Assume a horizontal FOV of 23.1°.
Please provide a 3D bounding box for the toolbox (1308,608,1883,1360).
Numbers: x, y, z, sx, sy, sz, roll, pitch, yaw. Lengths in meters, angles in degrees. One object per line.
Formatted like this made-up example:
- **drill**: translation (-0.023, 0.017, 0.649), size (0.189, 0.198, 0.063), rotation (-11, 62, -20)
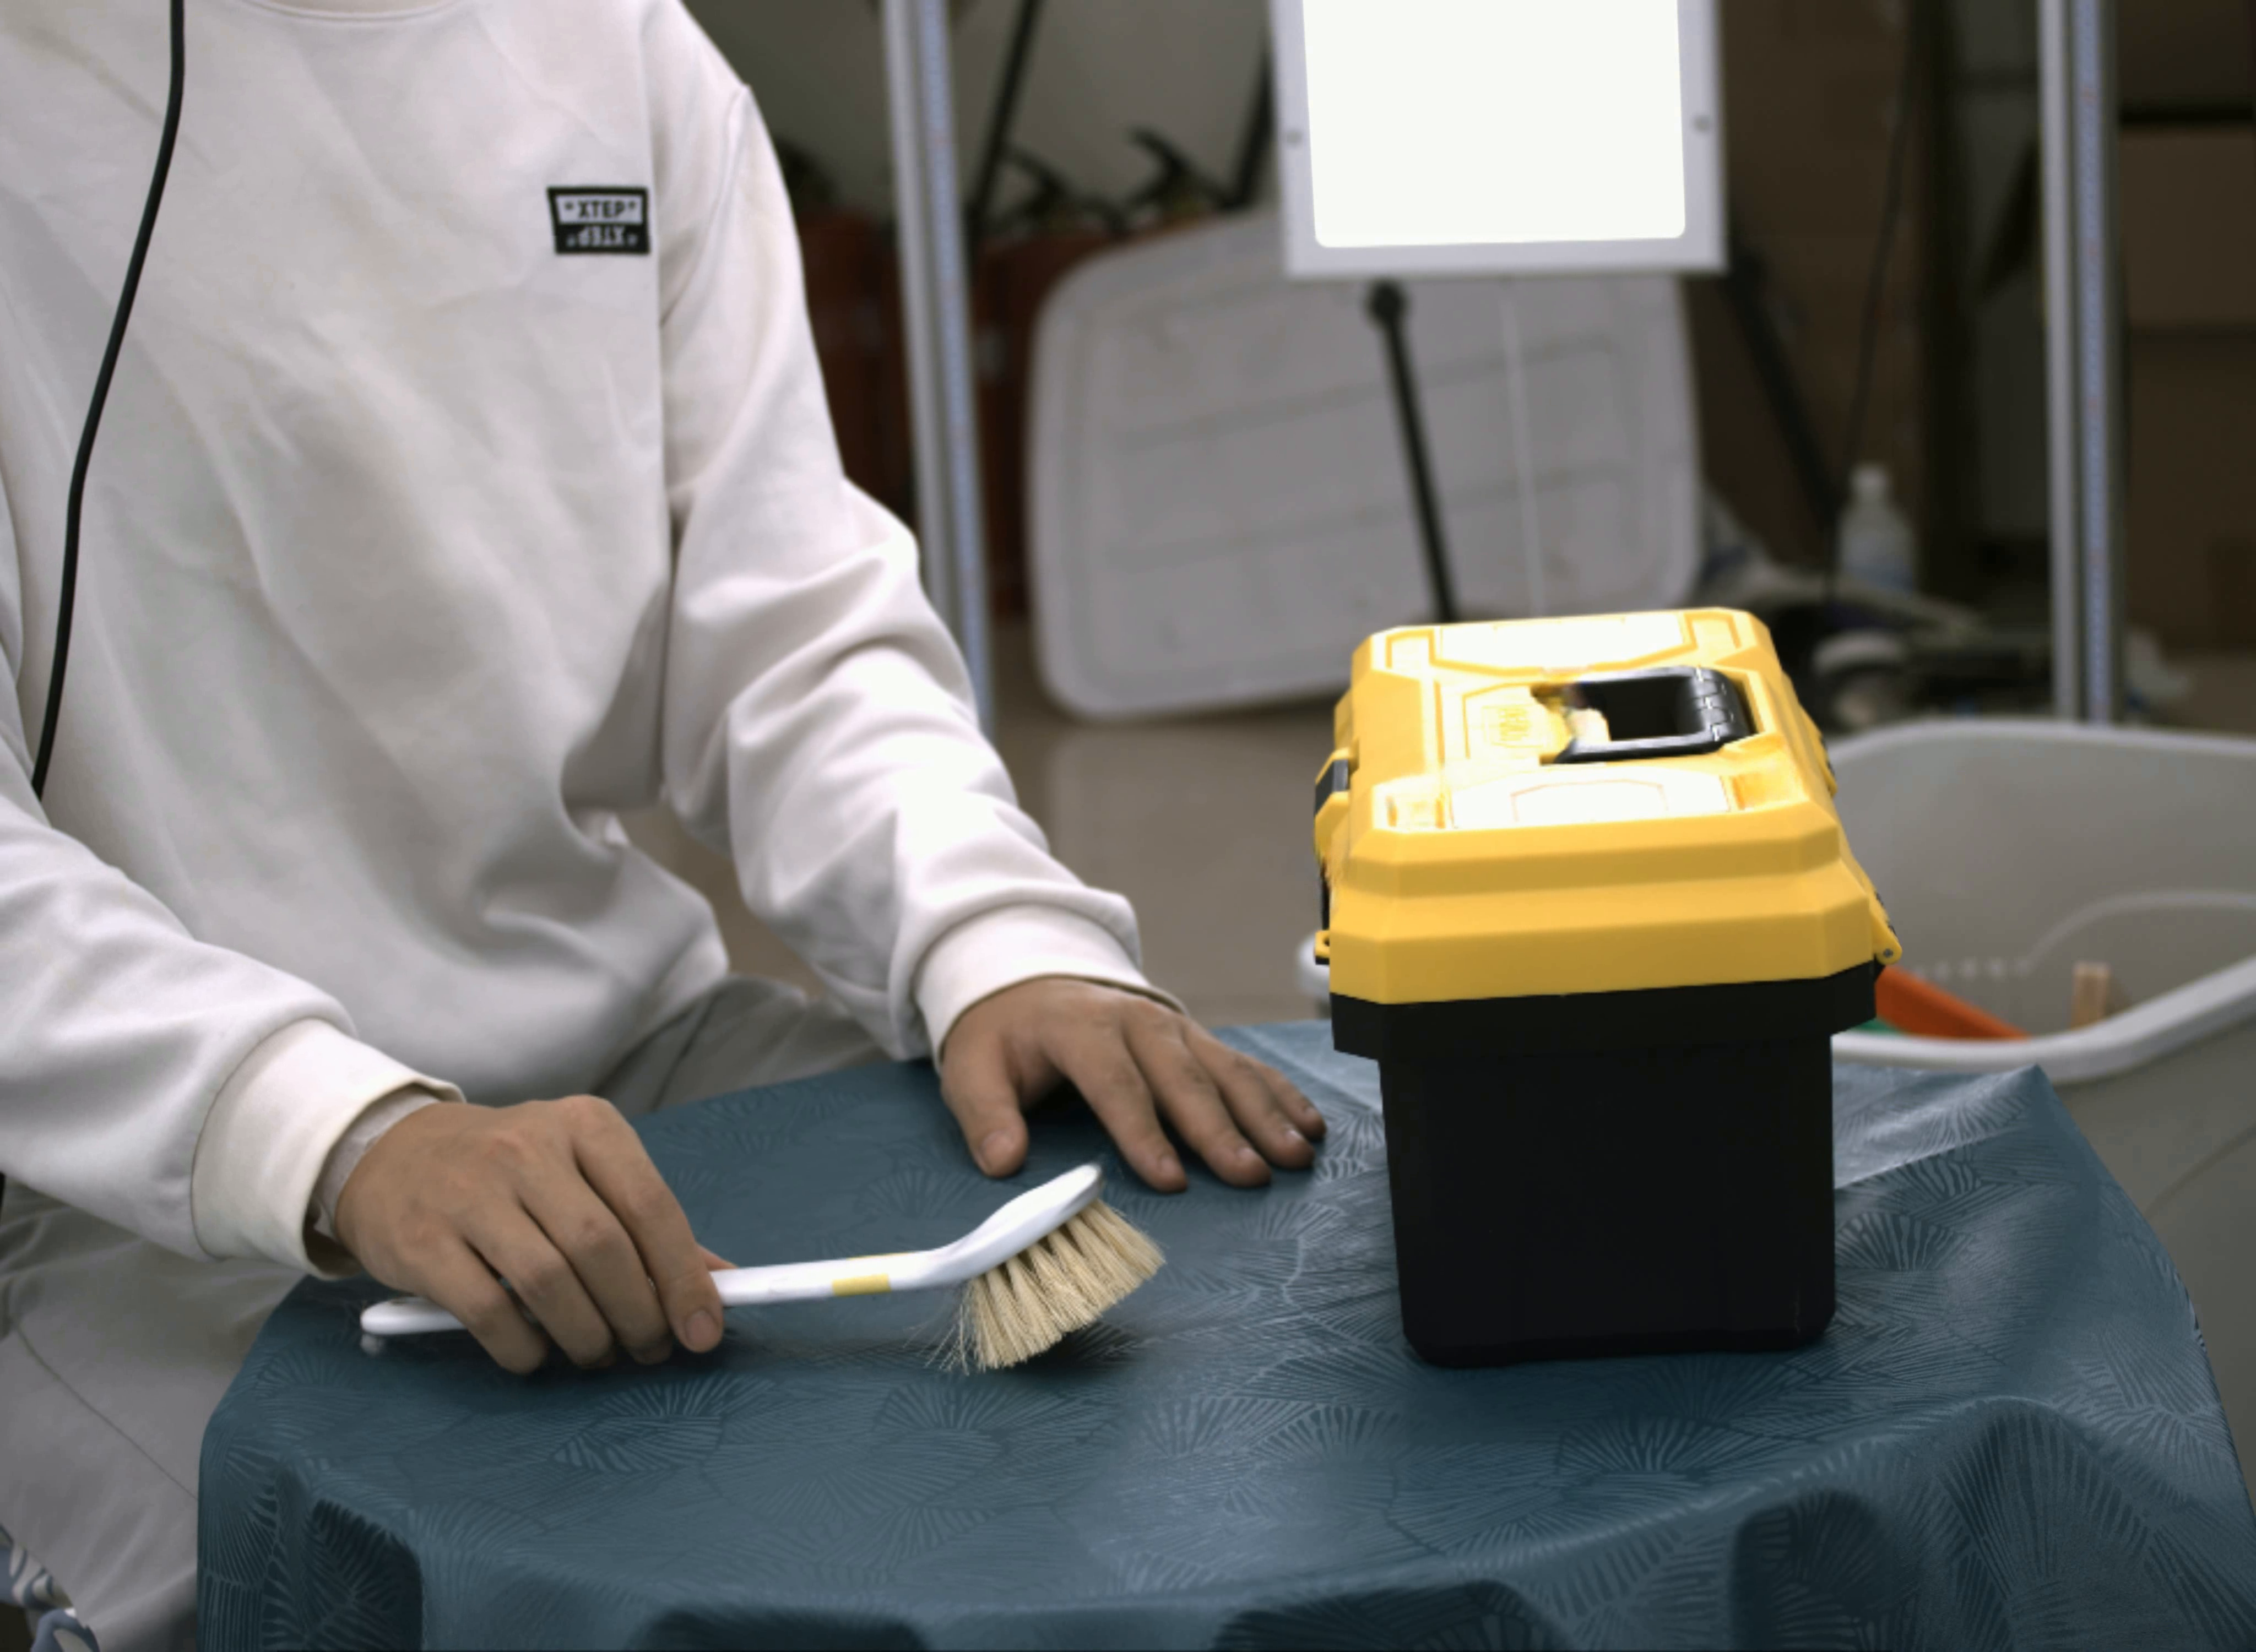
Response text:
- **toolbox**: translation (0.151, 0.044, 1.813), size (0.181, 0.173, 0.349), rotation (-3, 13, 4)

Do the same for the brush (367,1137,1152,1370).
- **brush**: translation (-0.118, 0.160, 1.772), size (0.269, 0.056, 0.067), rotation (-17, -8, 16)
